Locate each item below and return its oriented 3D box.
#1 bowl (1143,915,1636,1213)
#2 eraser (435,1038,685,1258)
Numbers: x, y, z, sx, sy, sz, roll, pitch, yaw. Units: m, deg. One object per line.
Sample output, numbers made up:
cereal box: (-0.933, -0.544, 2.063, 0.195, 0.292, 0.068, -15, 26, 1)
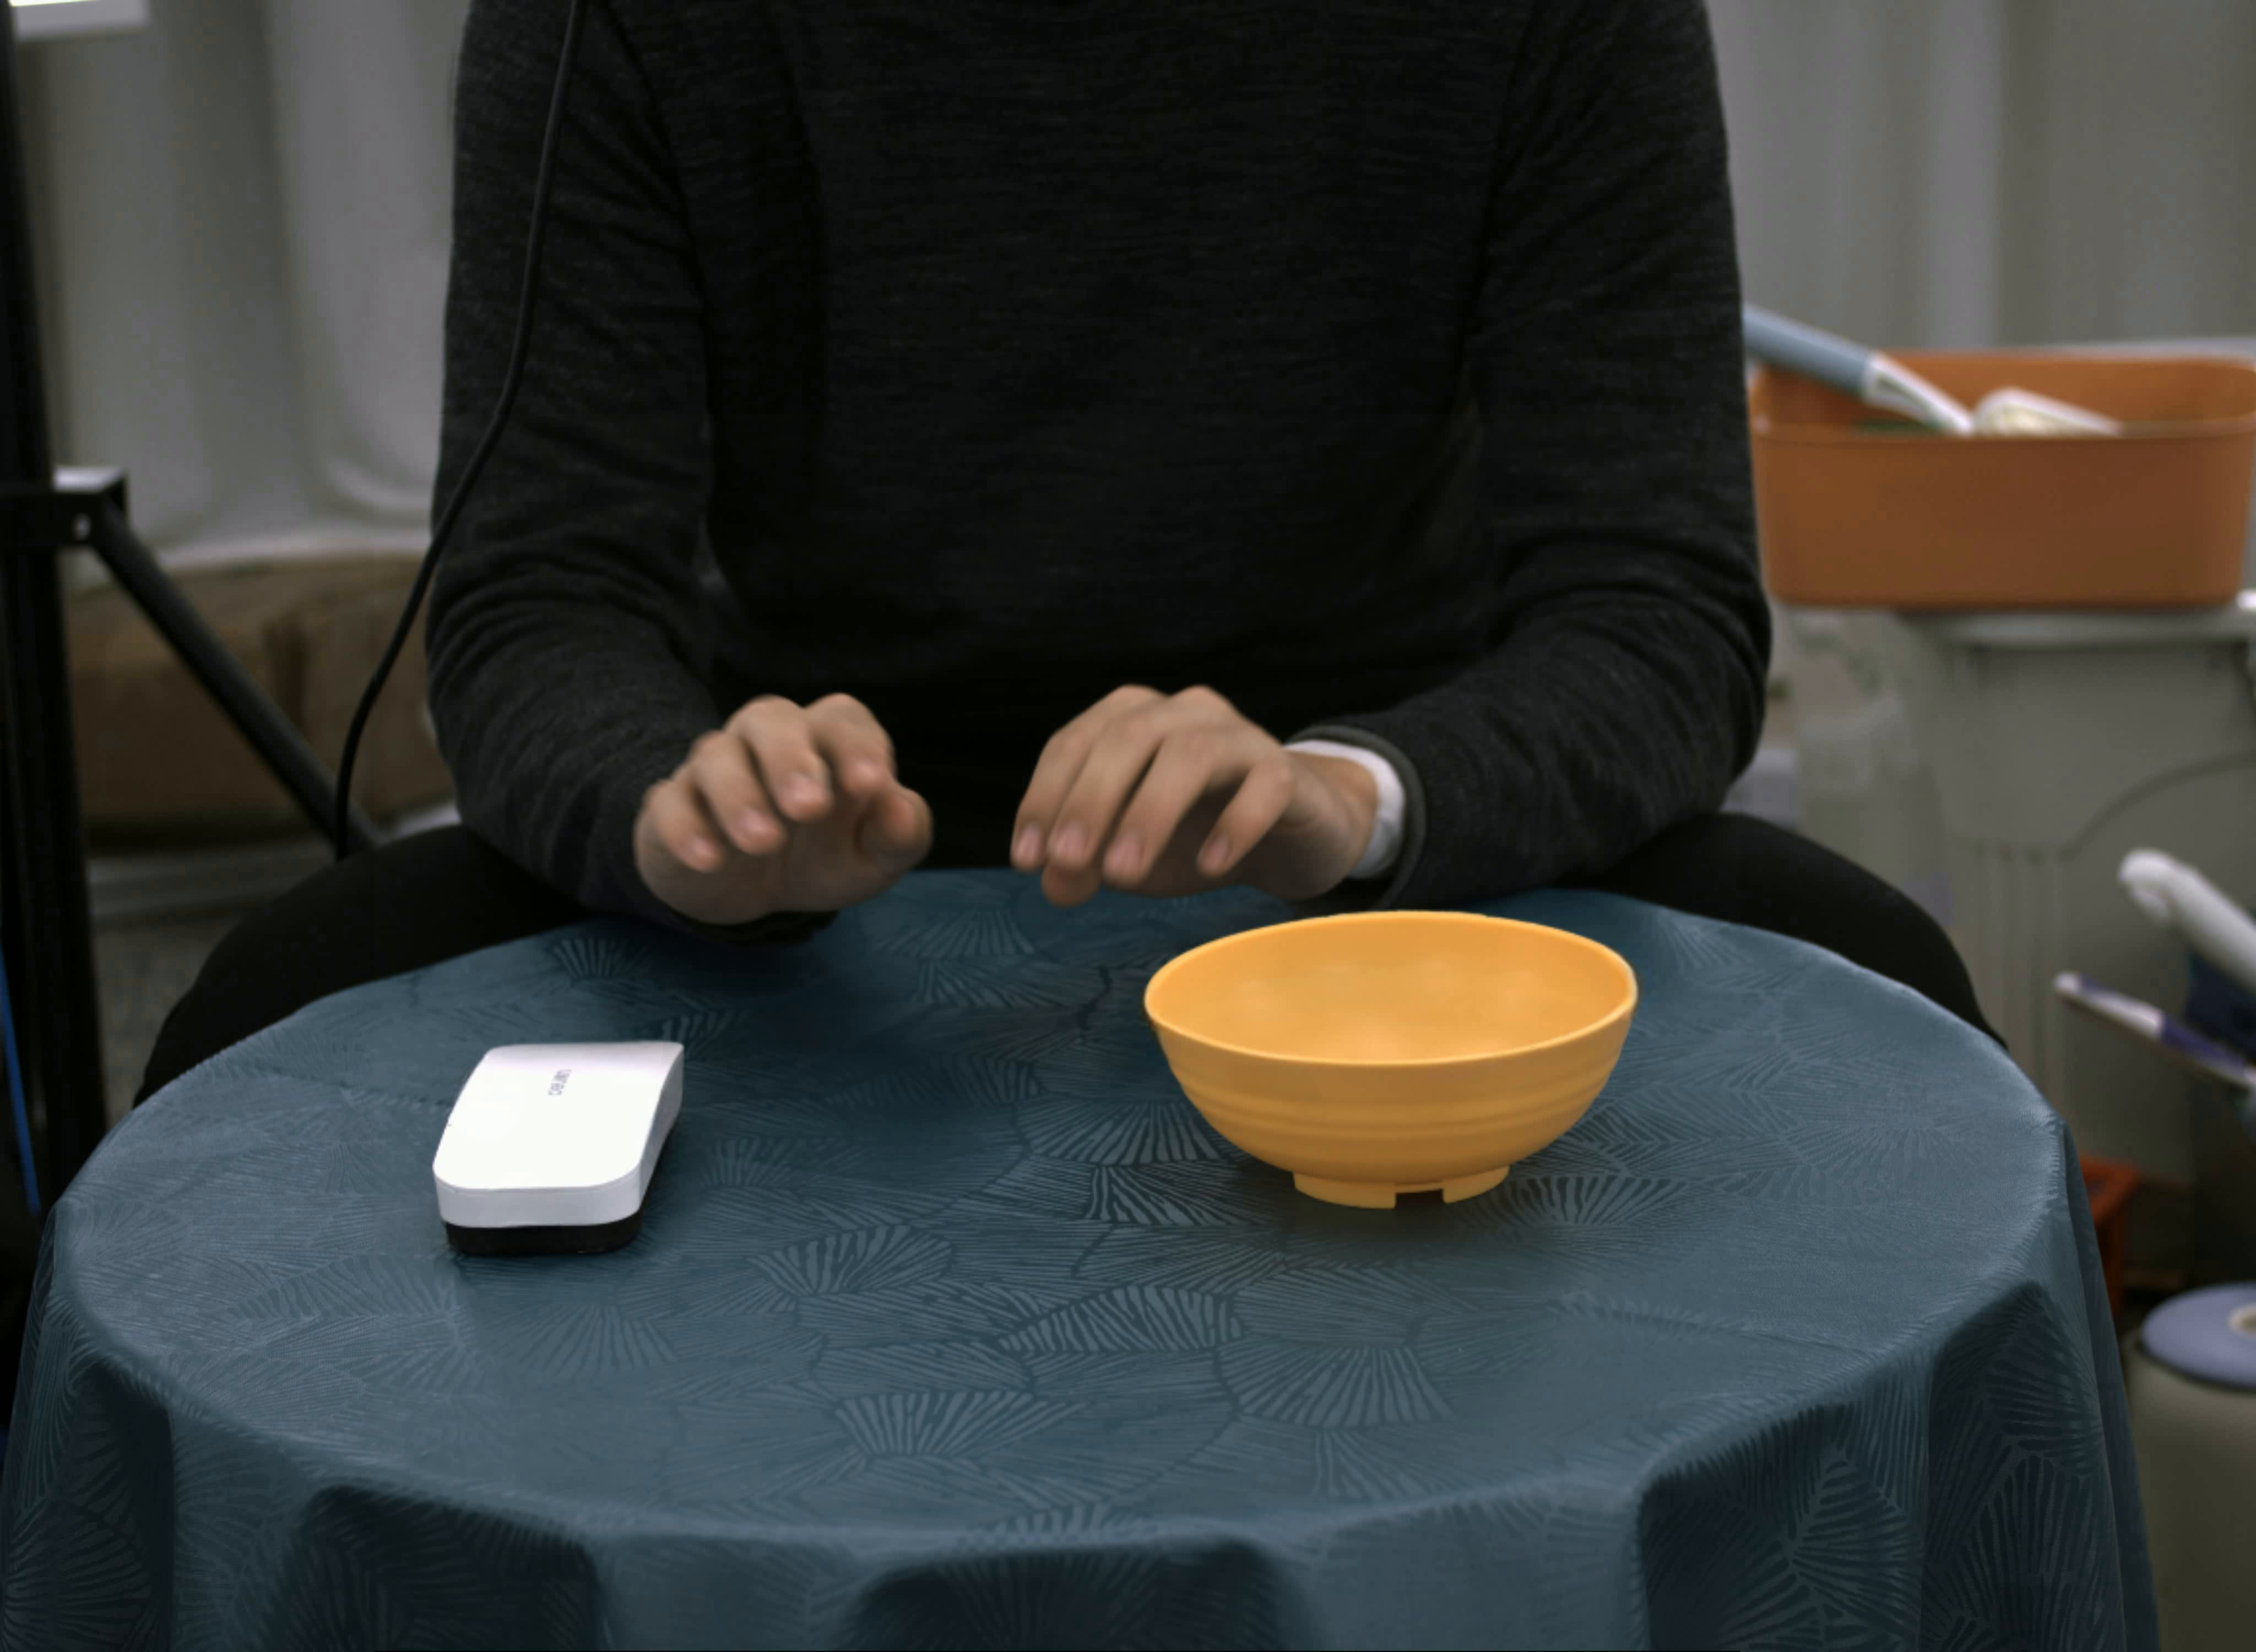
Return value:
bowl: (0.077, 0.075, 1.556, 0.144, 0.060, 0.146, -1, 15, -1)
eraser: (-0.166, 0.091, 1.587, 0.063, 0.034, 0.131, -1, 17, 4)
